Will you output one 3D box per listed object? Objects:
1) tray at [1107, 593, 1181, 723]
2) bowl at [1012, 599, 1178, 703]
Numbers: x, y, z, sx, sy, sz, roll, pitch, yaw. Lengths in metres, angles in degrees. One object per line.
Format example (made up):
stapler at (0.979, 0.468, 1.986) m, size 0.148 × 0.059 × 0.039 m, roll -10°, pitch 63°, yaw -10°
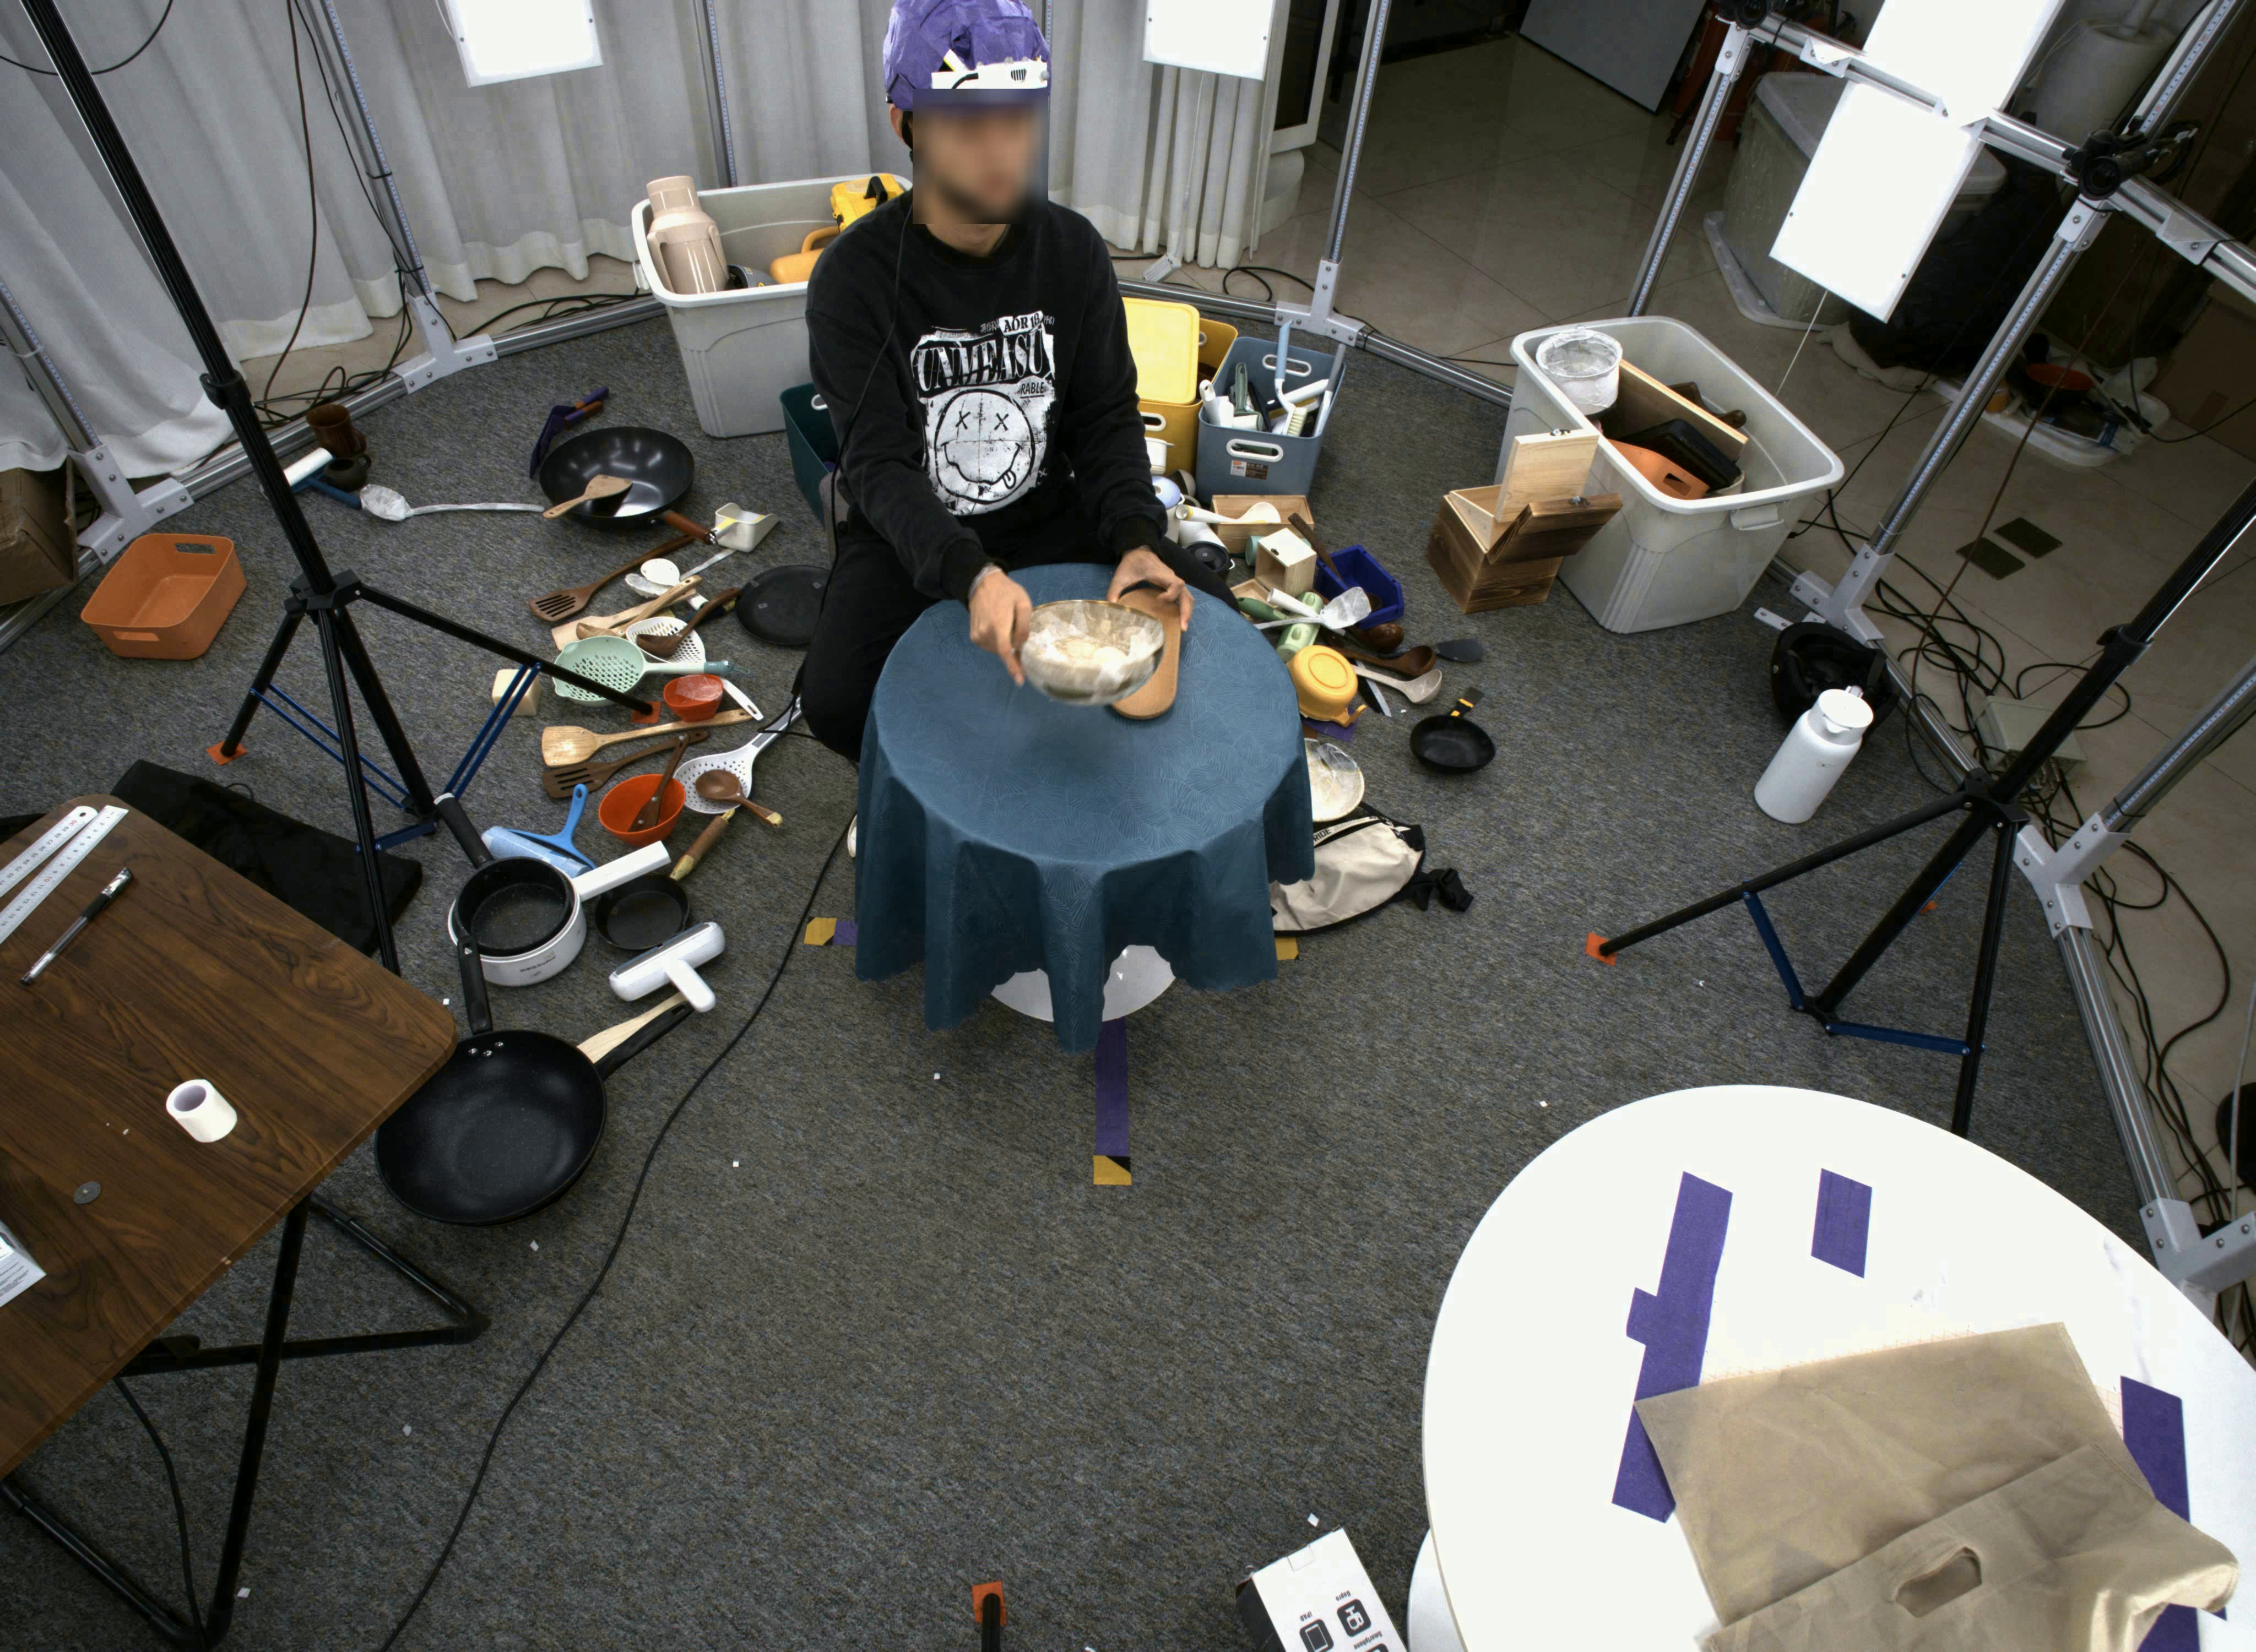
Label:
tray at (0.024, -0.246, 1.868) m, size 0.102 × 0.020 × 0.236 m, roll 2°, pitch 59°, yaw 3°
bowl at (-0.046, -0.218, 1.677) m, size 0.214 × 0.093 × 0.219 m, roll 2°, pitch 29°, yaw -1°
